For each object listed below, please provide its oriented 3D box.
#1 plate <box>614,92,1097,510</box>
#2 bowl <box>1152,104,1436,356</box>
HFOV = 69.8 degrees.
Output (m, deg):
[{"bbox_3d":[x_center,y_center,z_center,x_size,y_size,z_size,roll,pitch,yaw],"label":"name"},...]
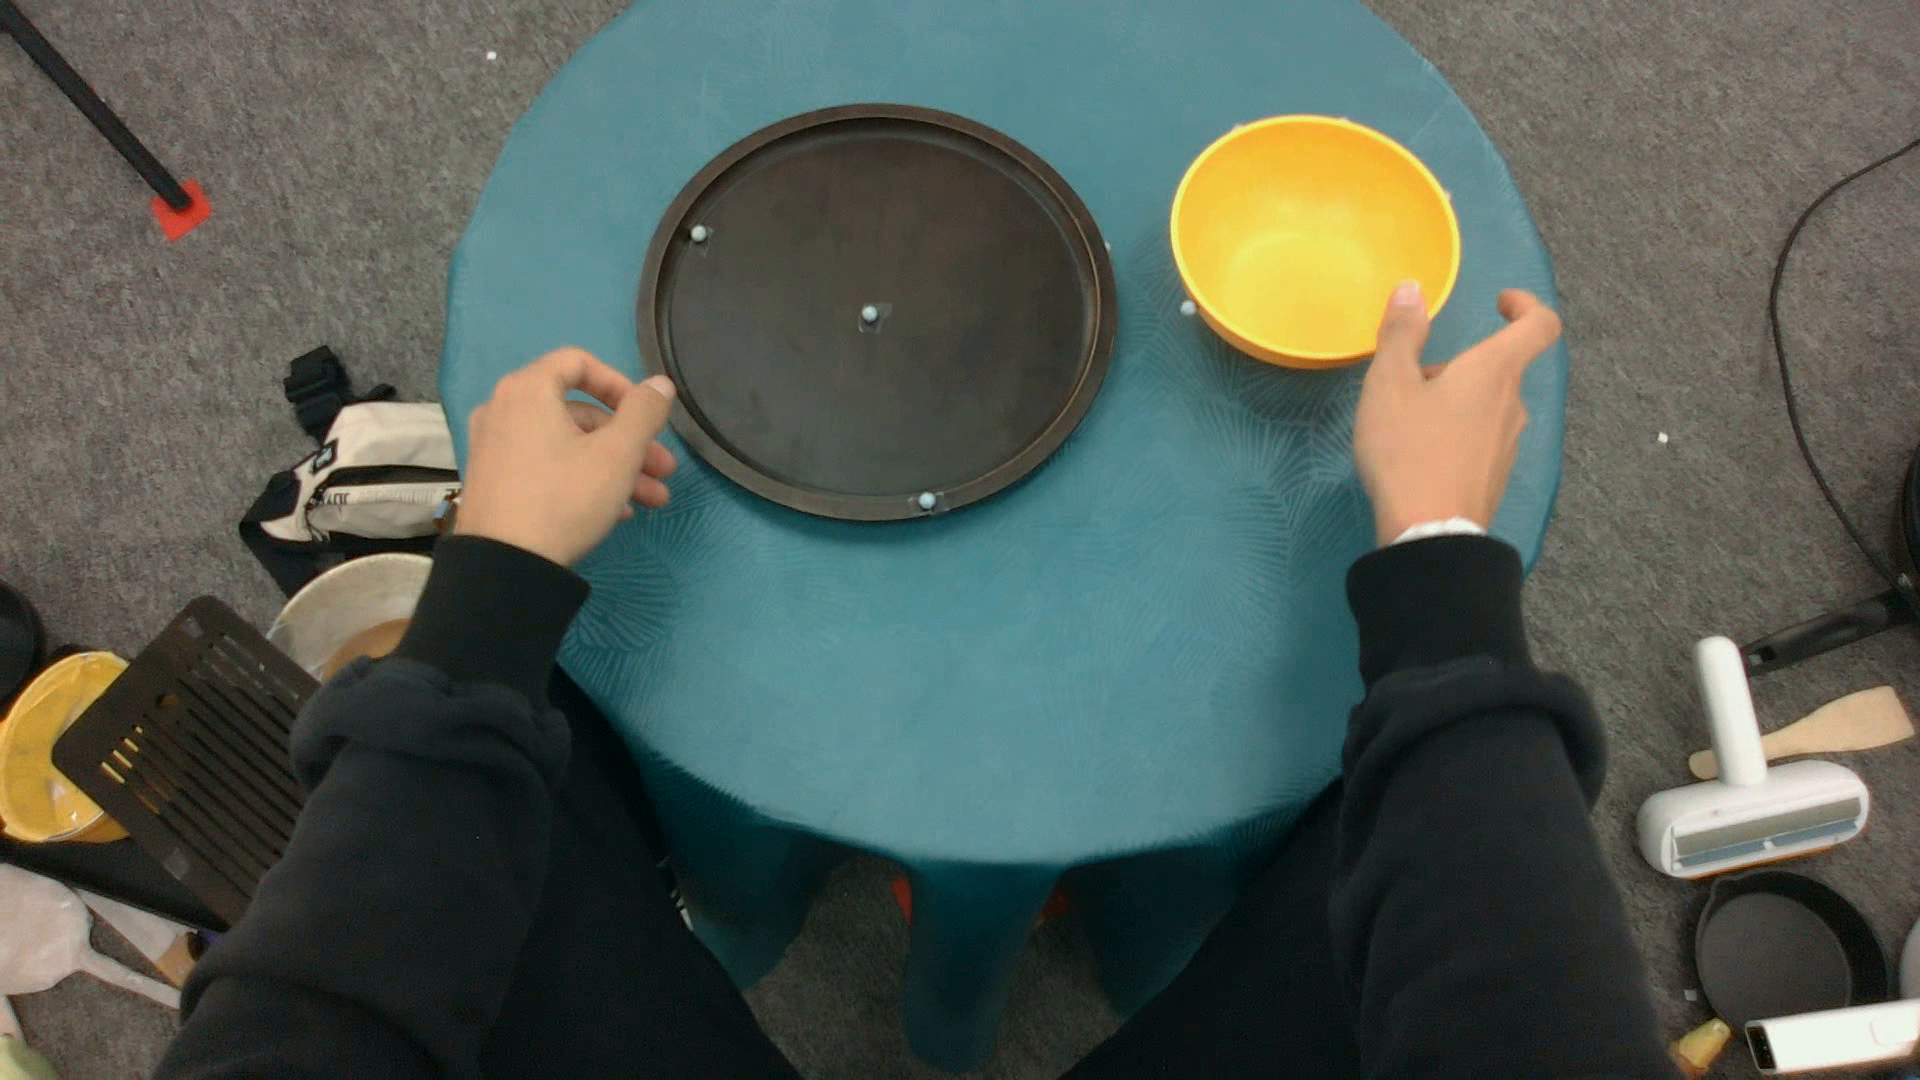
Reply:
[{"bbox_3d":[-0.054,-0.131,0.729,0.255,0.029,0.255,1,69,-3],"label":"plate"},{"bbox_3d":[0.170,-0.153,0.728,0.145,0.060,0.146,0,71,0],"label":"bowl"}]
